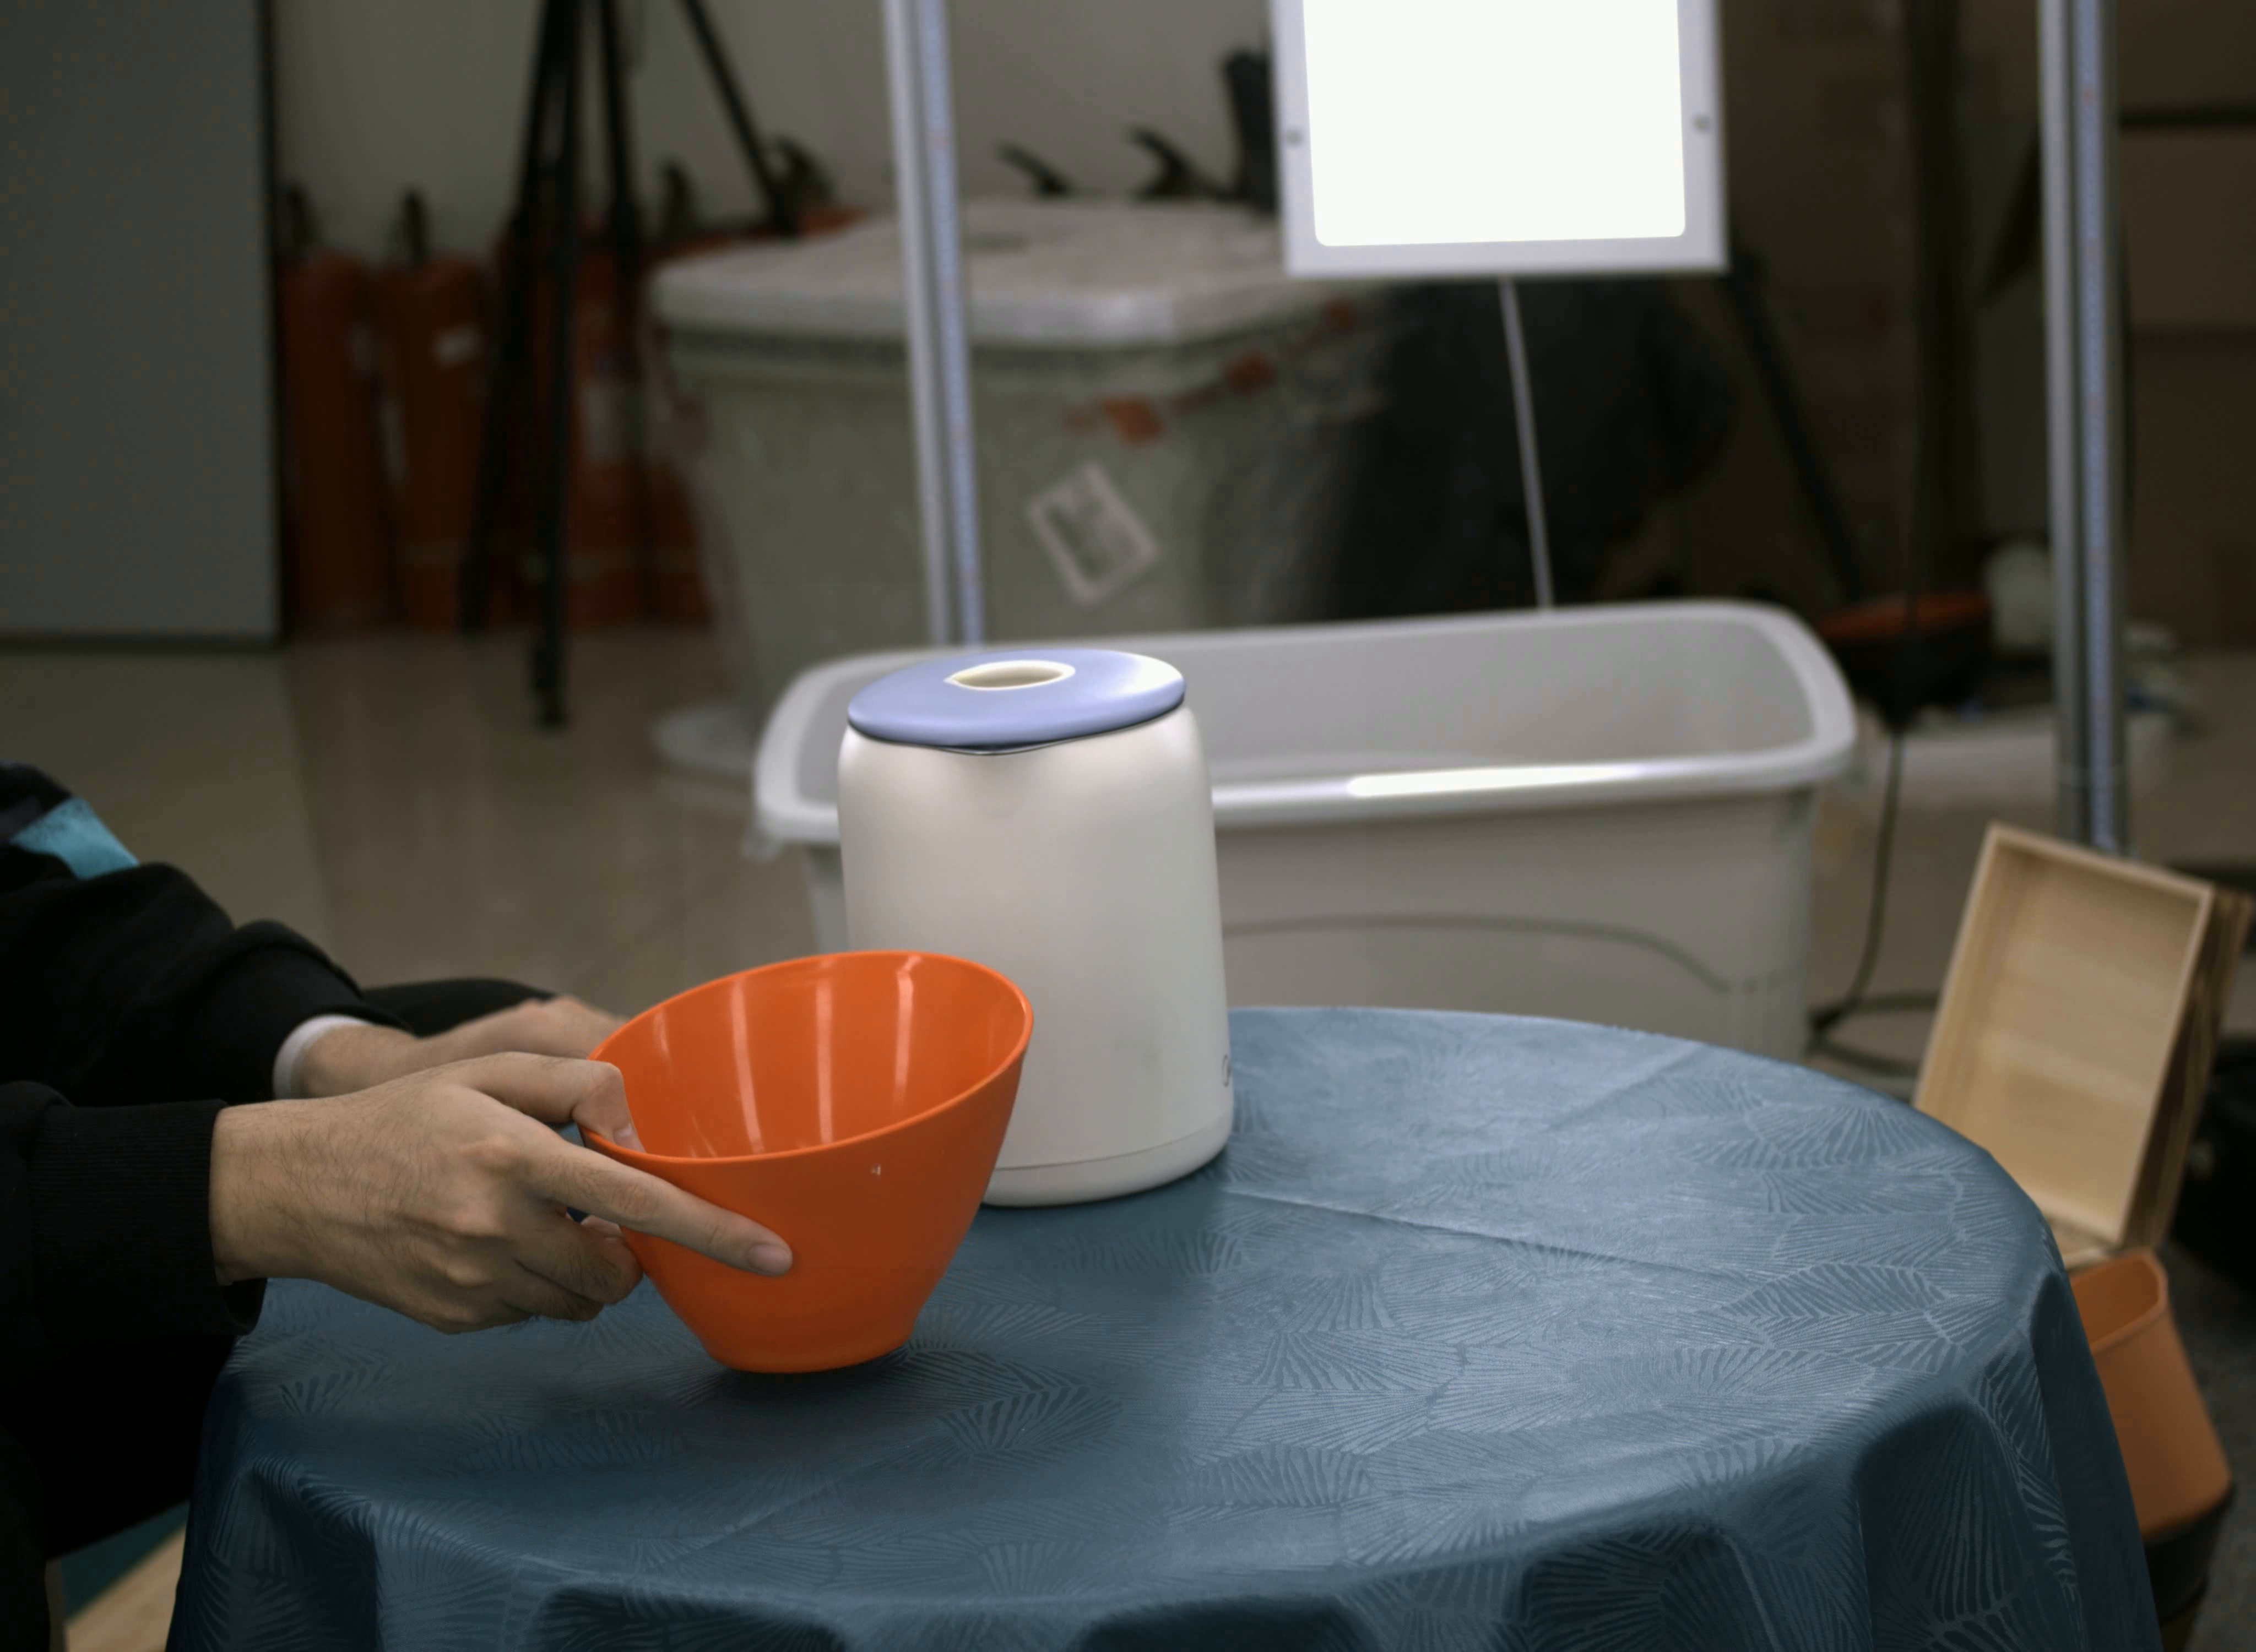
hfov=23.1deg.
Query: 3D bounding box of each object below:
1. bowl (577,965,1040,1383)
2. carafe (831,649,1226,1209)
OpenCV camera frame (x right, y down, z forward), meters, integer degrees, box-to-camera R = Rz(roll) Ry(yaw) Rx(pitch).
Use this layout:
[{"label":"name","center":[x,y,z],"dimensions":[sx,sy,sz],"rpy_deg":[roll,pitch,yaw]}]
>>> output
[{"label":"bowl","center":[-0.098,0.113,1.741],"dimensions":[0.147,0.105,0.148],"rpy_deg":[-5,13,0]},{"label":"carafe","center":[-0.033,0.030,1.944],"dimensions":[0.132,0.183,0.190],"rpy_deg":[-2,12,5]}]
